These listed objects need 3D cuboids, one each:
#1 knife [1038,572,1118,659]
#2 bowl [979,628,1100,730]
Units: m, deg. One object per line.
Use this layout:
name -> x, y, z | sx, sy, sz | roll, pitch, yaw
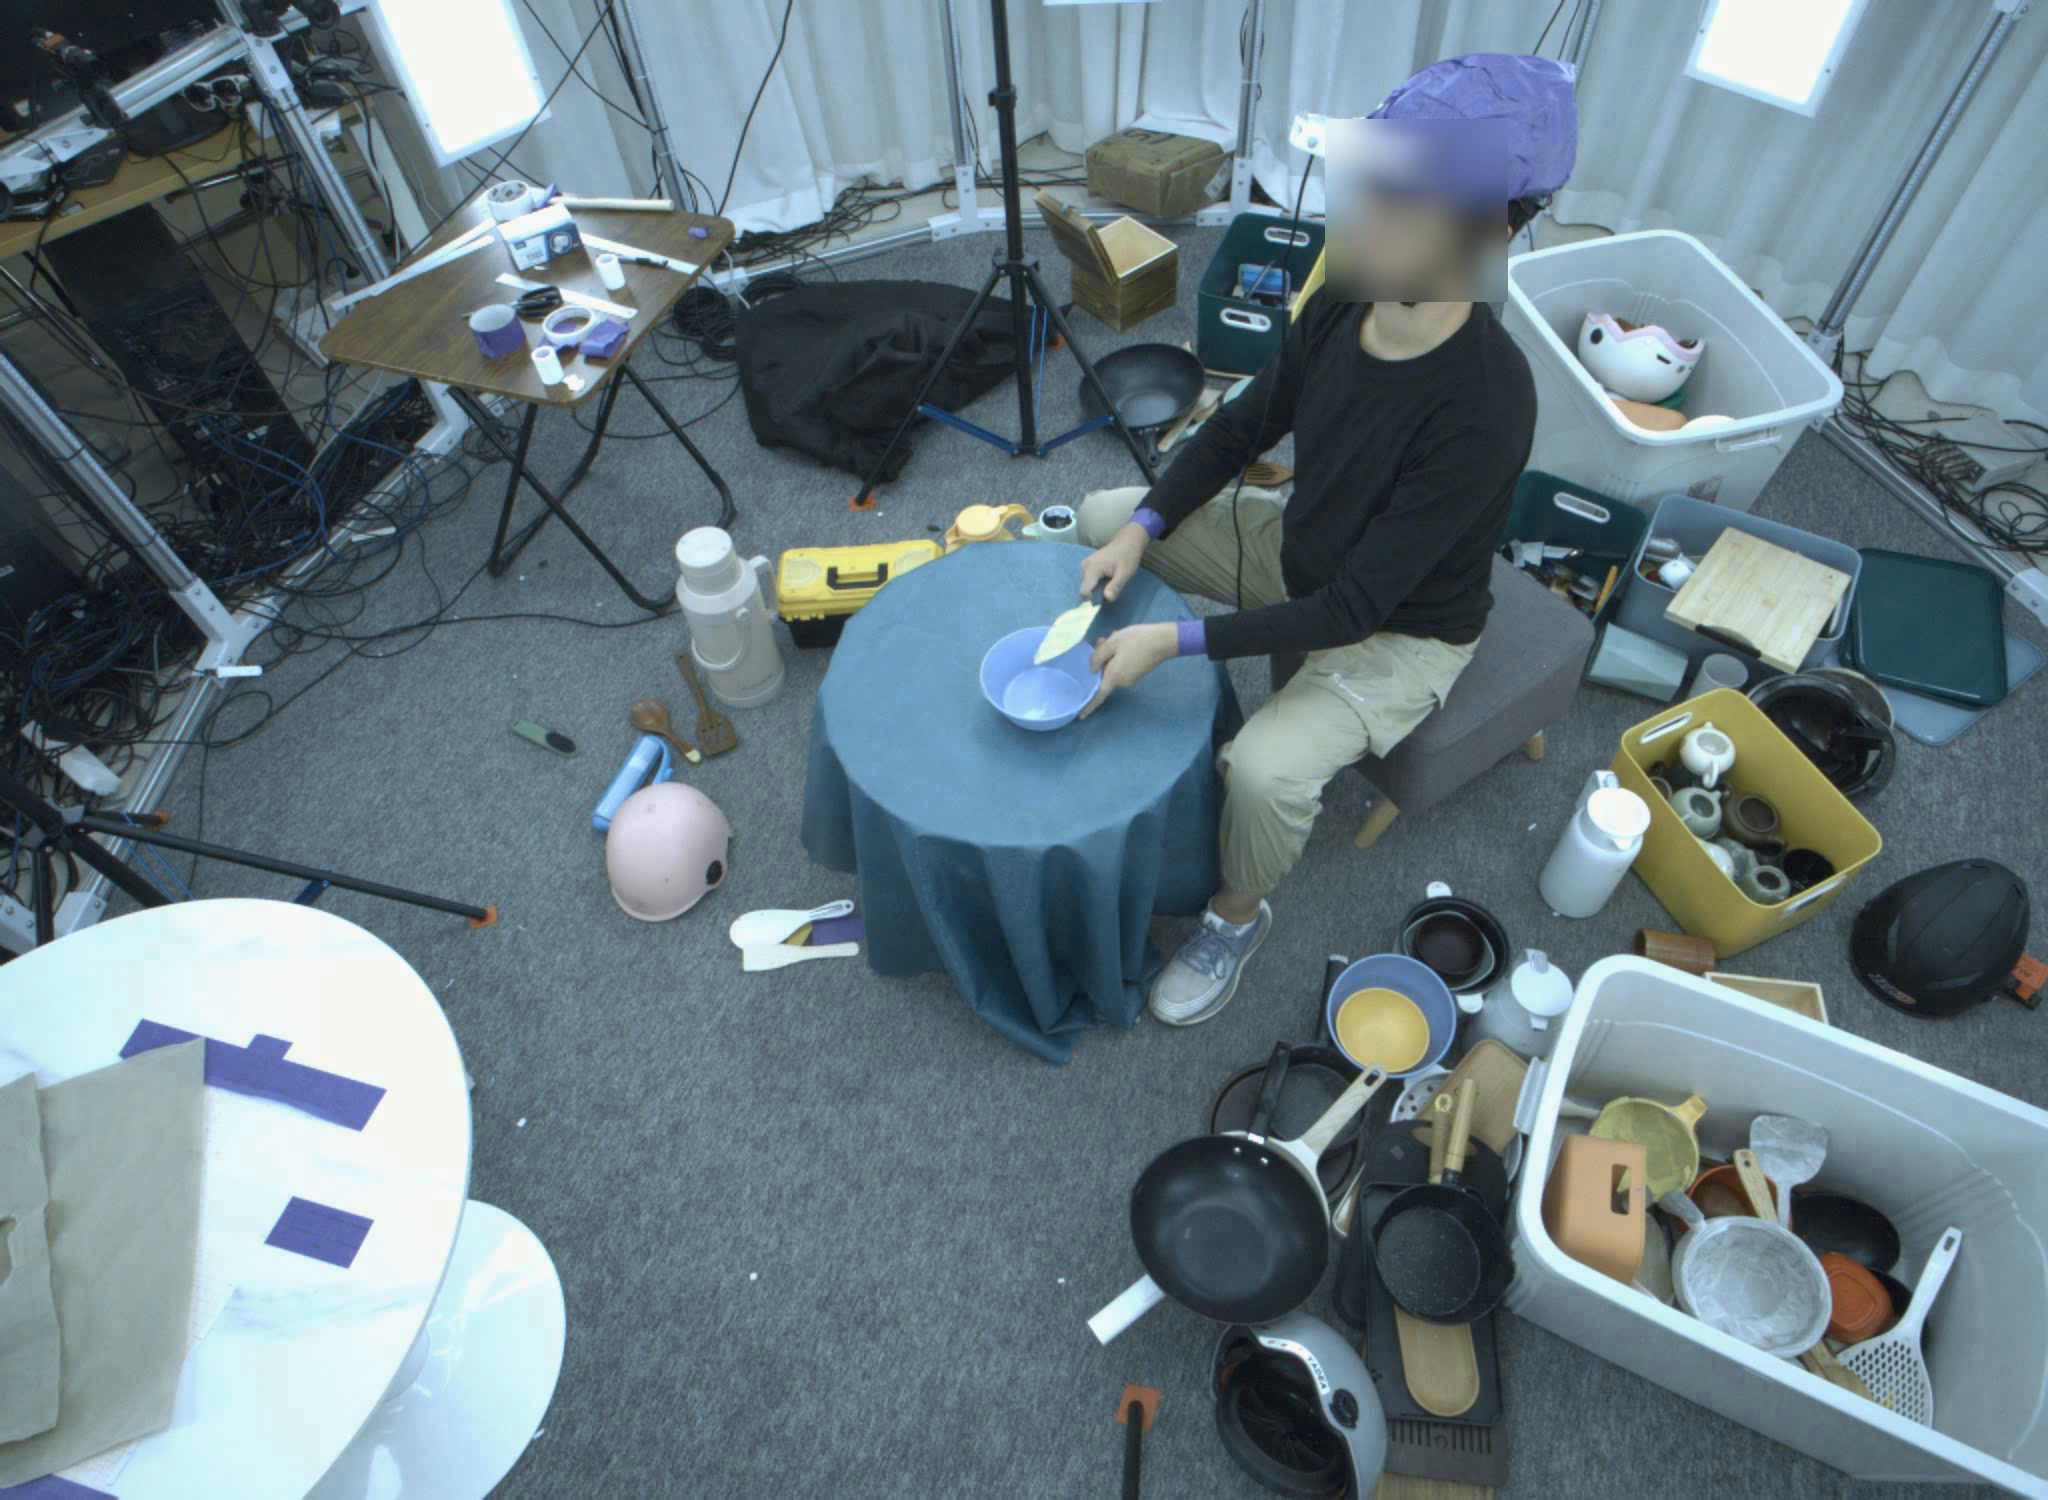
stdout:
knife -> 0.083, -0.201, 1.833 | 0.080, 0.027, 0.290 | -8, 27, 28
bowl -> 0.024, -0.095, 1.808 | 0.176, 0.071, 0.174 | 0, 54, 2
